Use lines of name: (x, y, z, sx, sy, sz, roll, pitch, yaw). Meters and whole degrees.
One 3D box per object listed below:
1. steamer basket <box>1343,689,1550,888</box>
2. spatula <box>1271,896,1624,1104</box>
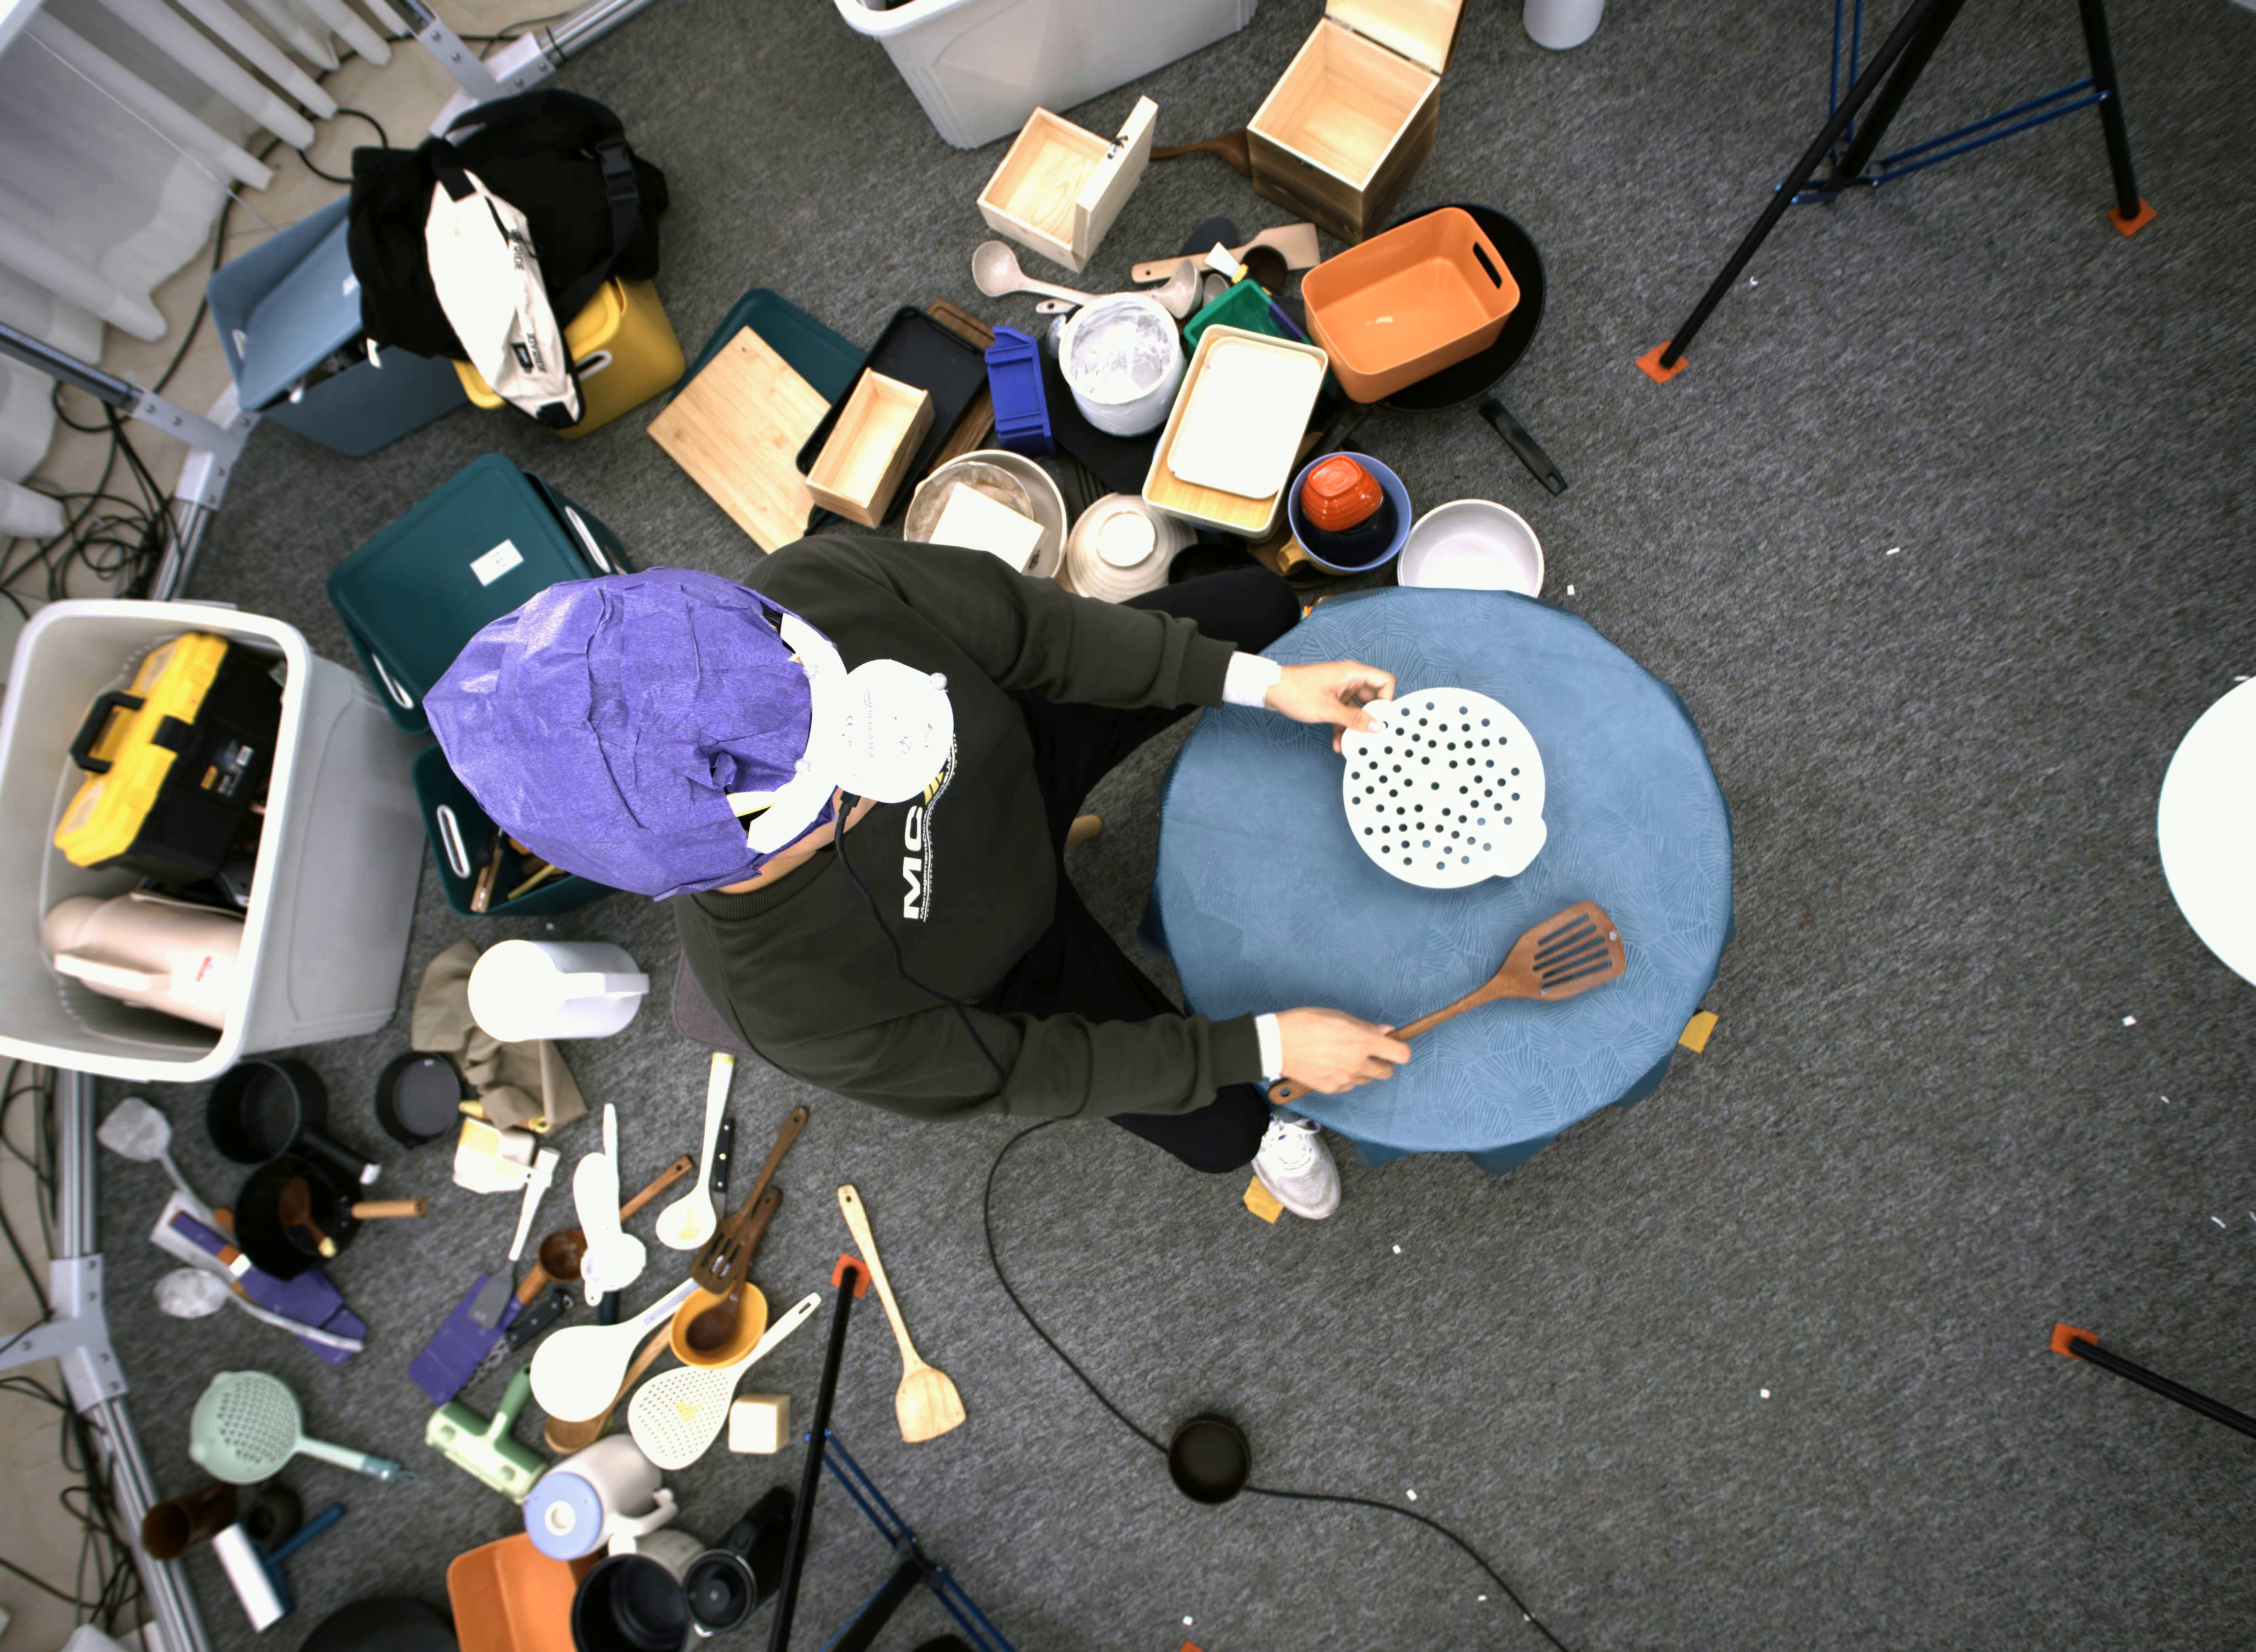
steamer basket: (0.324, -0.039, 1.413, 0.230, 0.069, 0.203, 38, 96, 4)
spatula: (0.319, 0.189, 1.403, 0.386, 0.023, 0.086, -28, 90, 4)
